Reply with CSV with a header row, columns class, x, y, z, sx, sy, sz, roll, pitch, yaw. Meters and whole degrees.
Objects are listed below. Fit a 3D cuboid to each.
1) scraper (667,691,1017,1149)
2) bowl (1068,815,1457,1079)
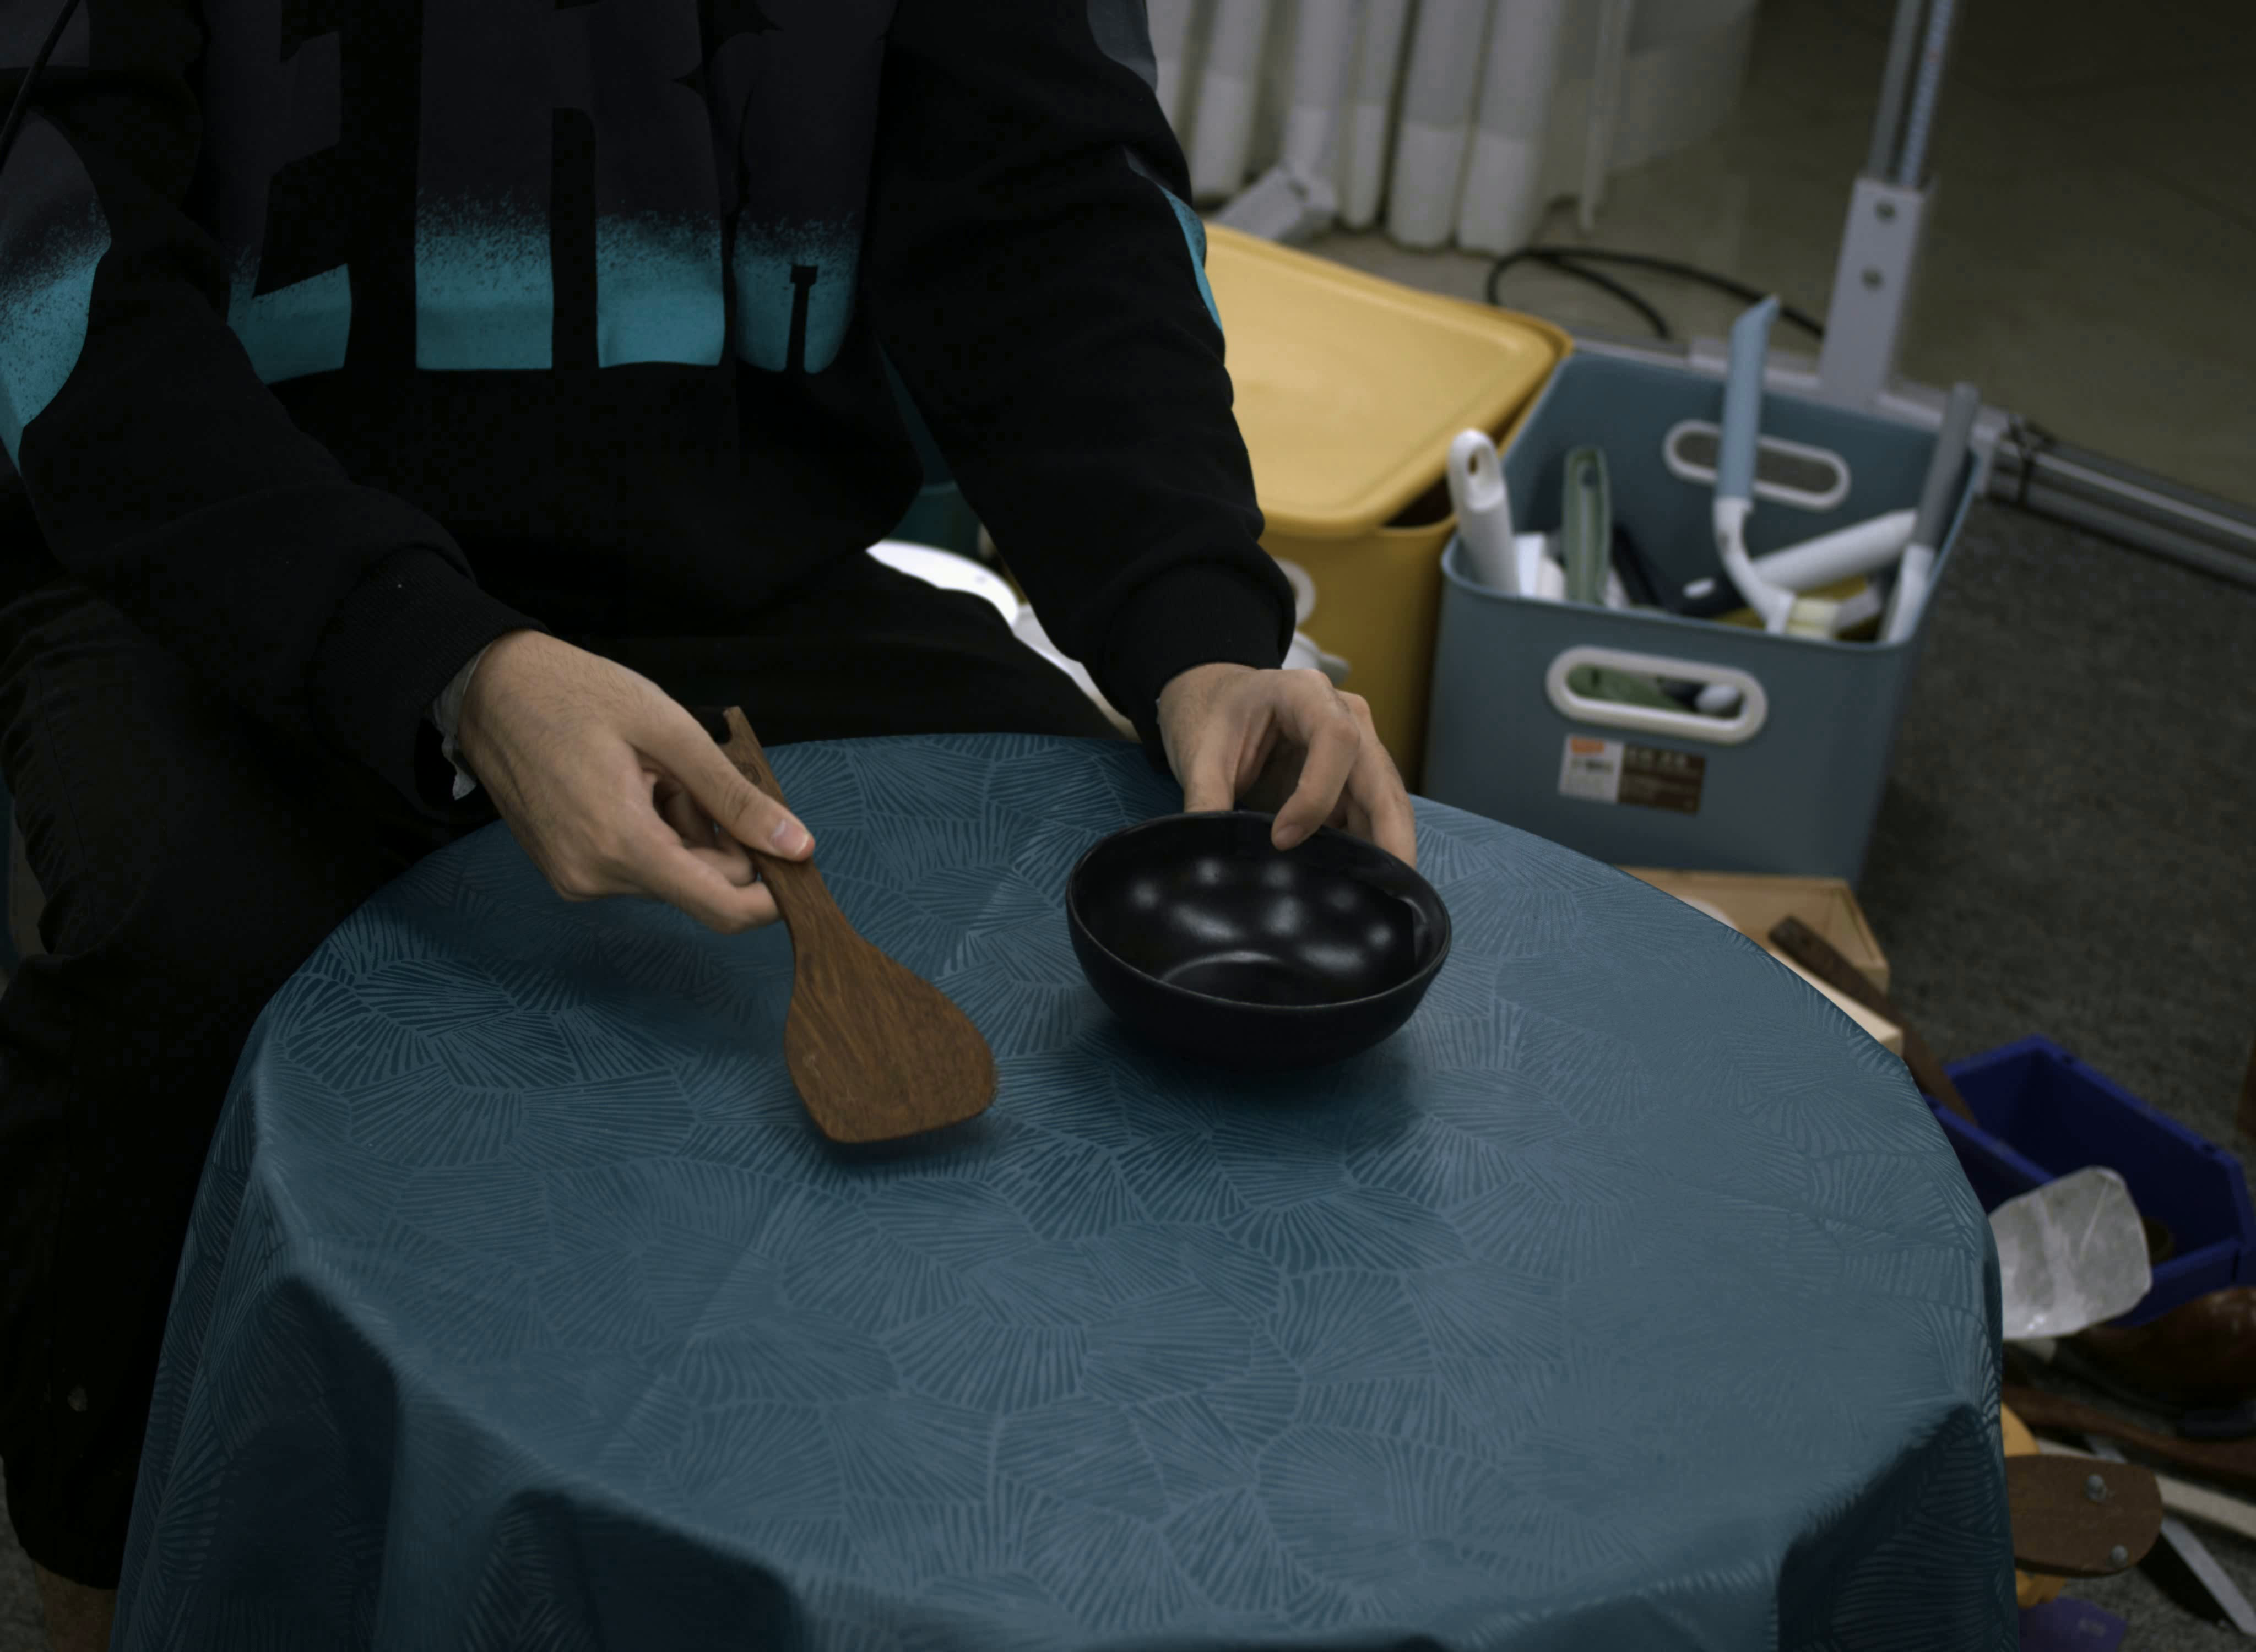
class,x,y,z,sx,sy,sz,roll,pitch,yaw
scraper,-0.111,0.030,1.861,0.075,0.011,0.213,-12,53,-25
bowl,0.046,0.051,1.900,0.139,0.049,0.141,2,29,-2
